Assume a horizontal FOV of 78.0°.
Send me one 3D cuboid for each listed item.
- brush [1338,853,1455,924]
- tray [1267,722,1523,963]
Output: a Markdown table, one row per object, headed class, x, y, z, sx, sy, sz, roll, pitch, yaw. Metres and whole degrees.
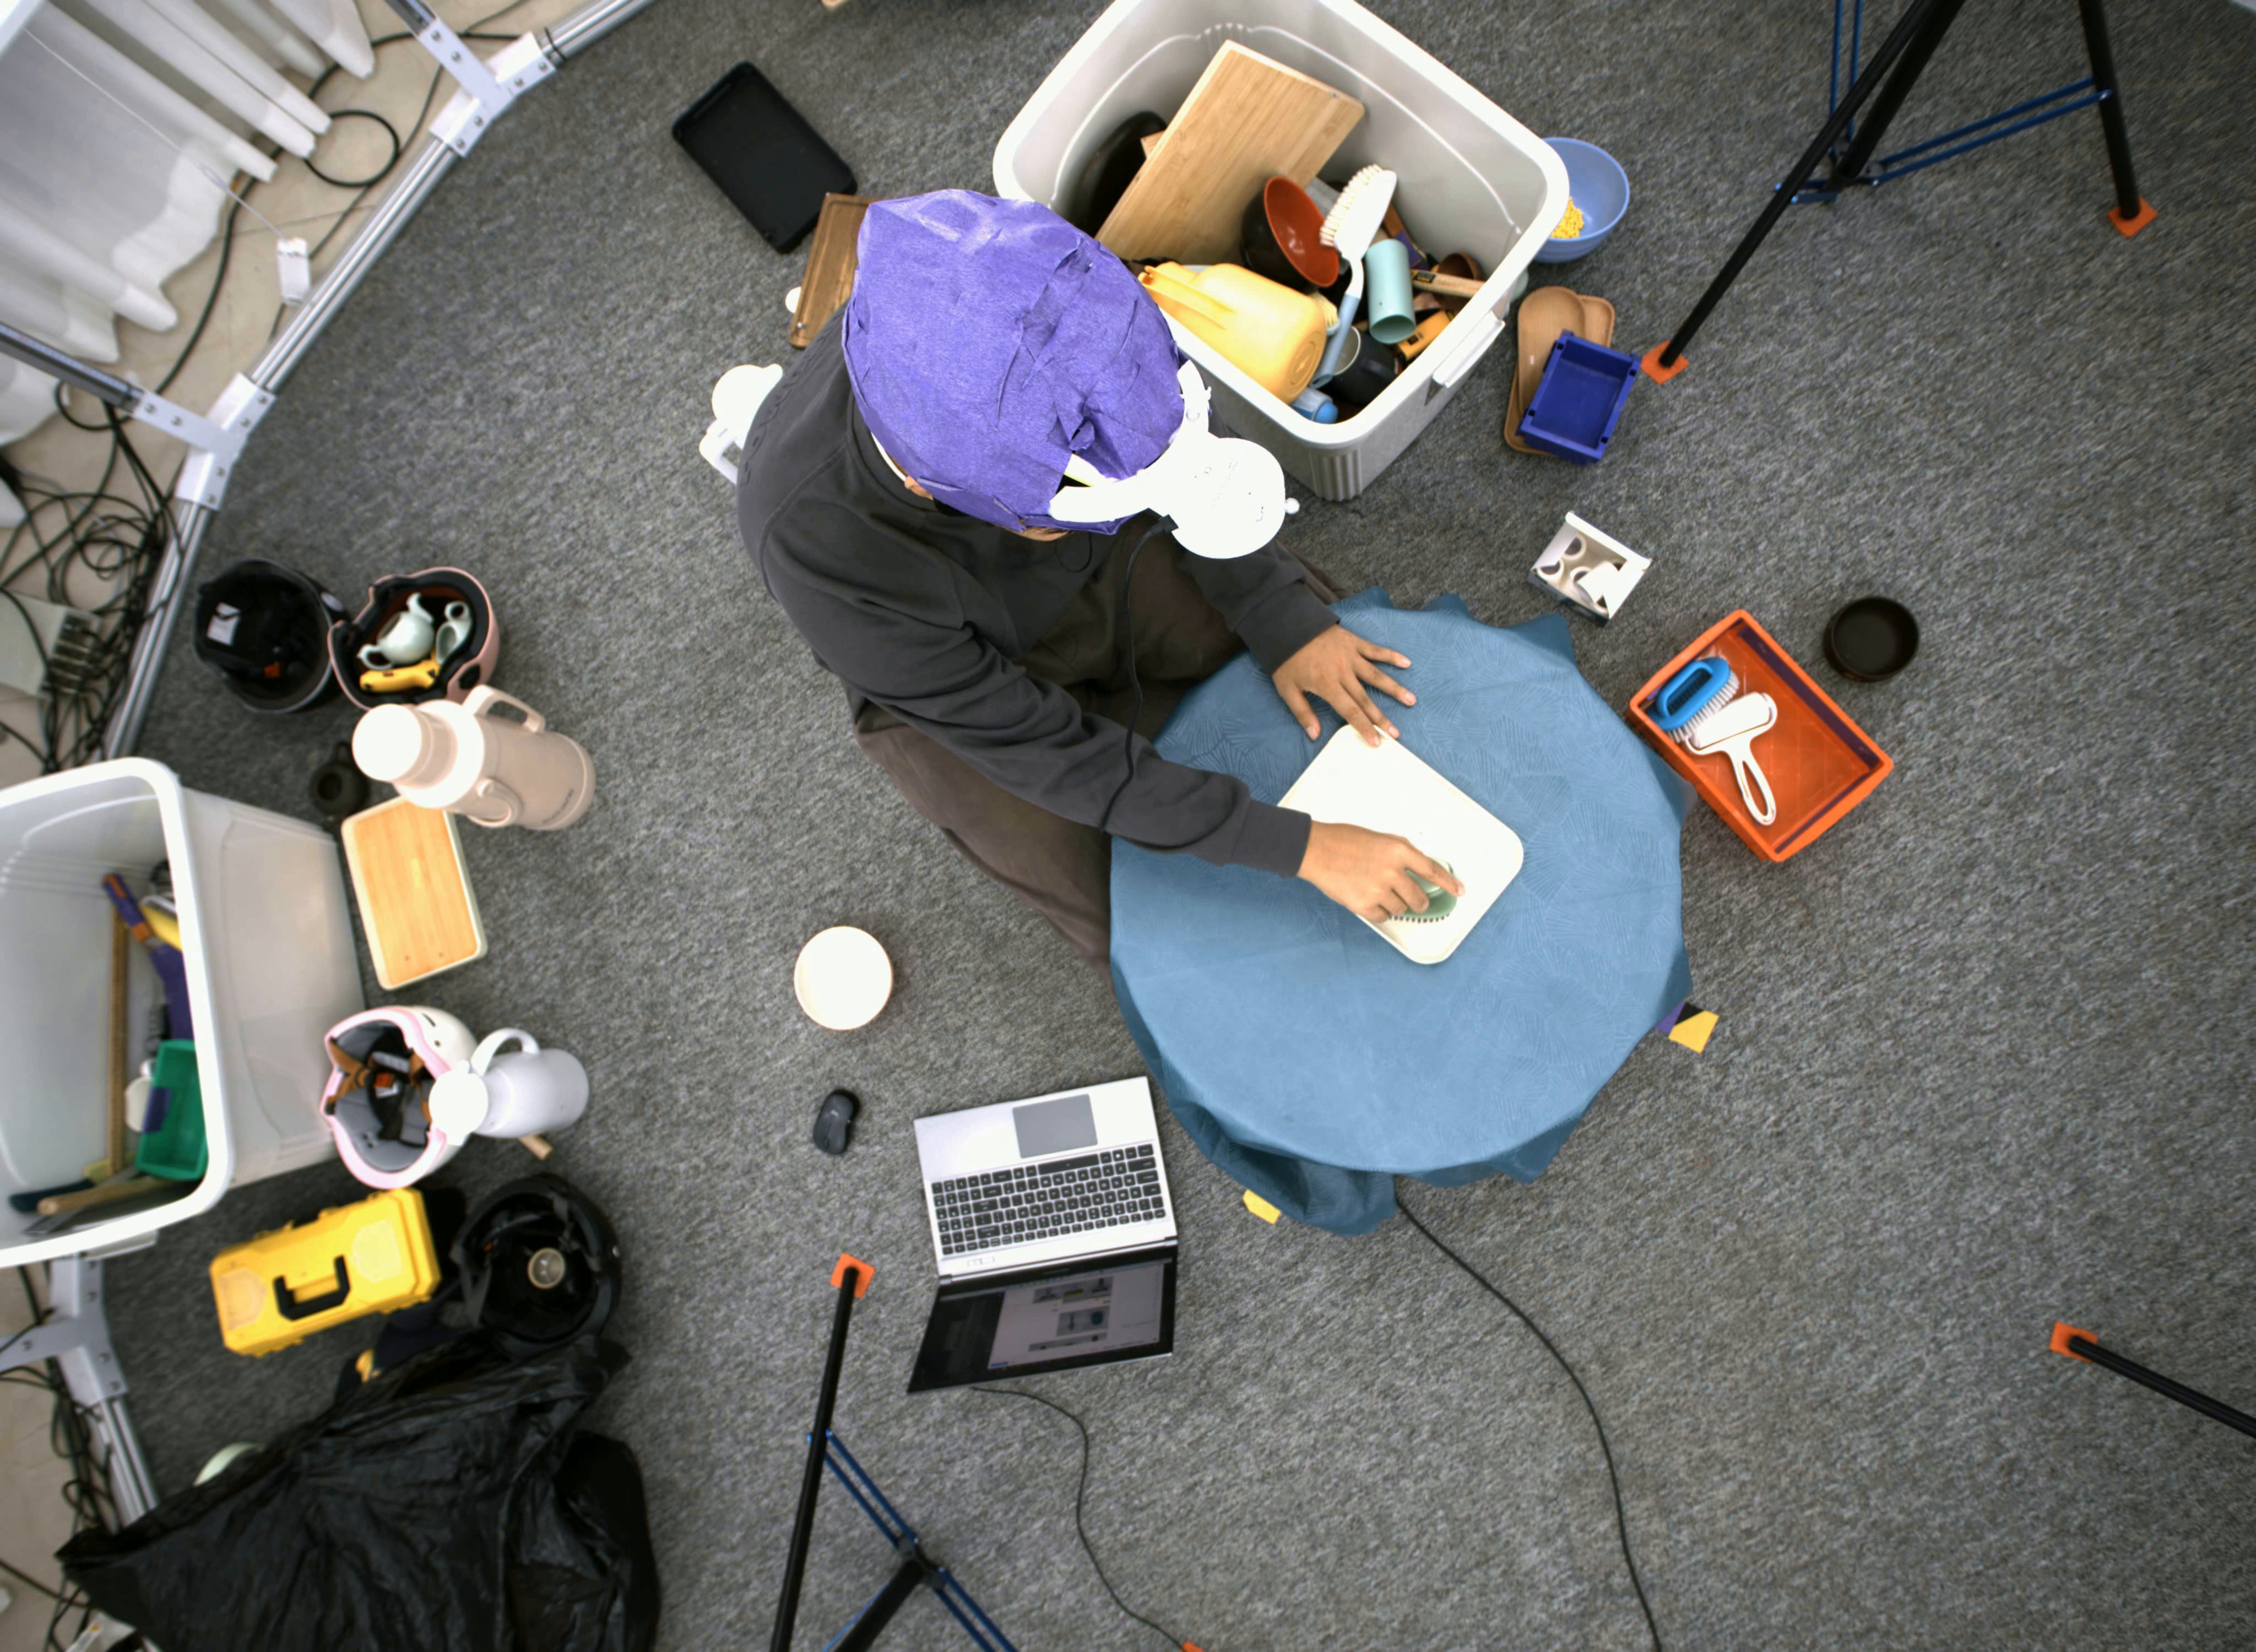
| class | x | y | z | sx | sy | sz | roll | pitch | yaw |
| --- | --- | --- | --- | --- | --- | --- | --- | --- | --- |
| brush | 0.276 | 0.061 | 1.412 | 0.124 | 0.077 | 0.058 | 1 | 59 | 31 |
| tray | 0.279 | 0.015 | 1.453 | 0.239 | 0.017 | 0.172 | 40 | 94 | 11 |
